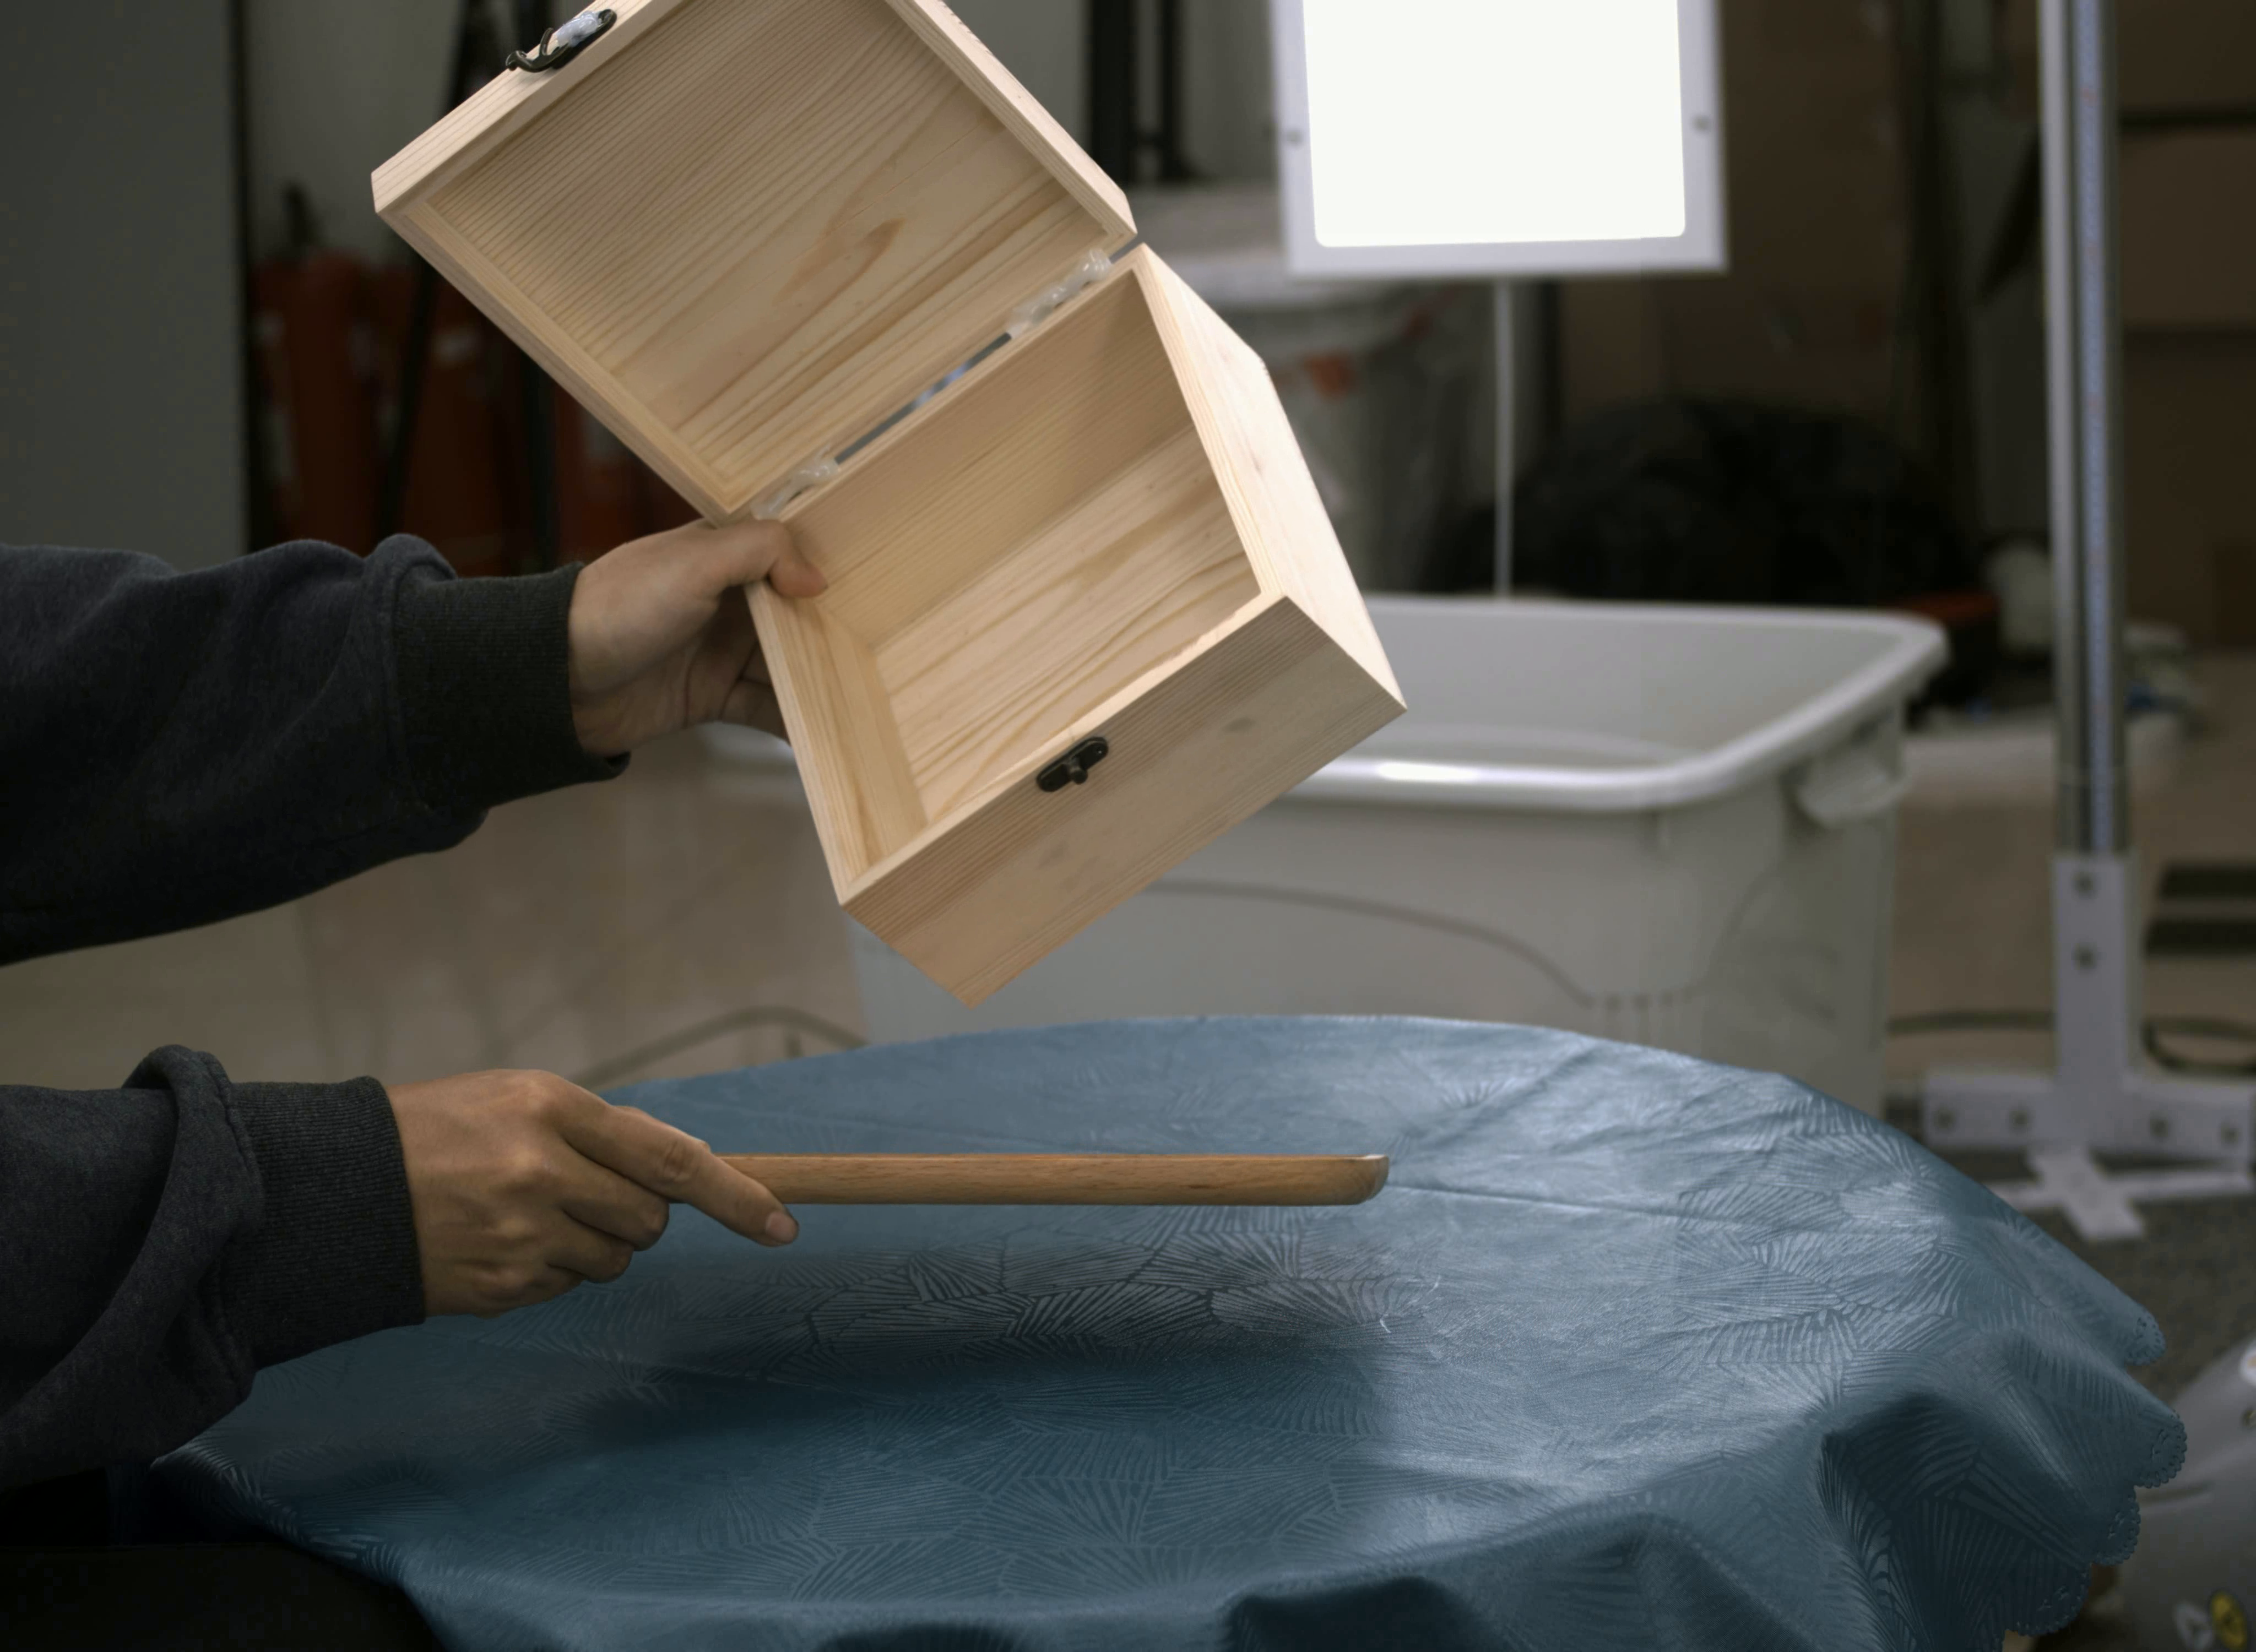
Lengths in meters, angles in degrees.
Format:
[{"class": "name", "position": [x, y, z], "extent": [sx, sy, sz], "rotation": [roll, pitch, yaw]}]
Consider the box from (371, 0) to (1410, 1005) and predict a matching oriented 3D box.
[{"class": "box", "position": [-0.081, -0.132, 1.797], "extent": [0.184, 0.249, 0.266], "rotation": [-38, 43, 18]}]

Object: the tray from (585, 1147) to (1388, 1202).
[{"class": "tray", "position": [-0.043, 0.111, 1.756], "extent": [0.251, 0.023, 0.130], "rotation": [-1, -6, 8]}]
